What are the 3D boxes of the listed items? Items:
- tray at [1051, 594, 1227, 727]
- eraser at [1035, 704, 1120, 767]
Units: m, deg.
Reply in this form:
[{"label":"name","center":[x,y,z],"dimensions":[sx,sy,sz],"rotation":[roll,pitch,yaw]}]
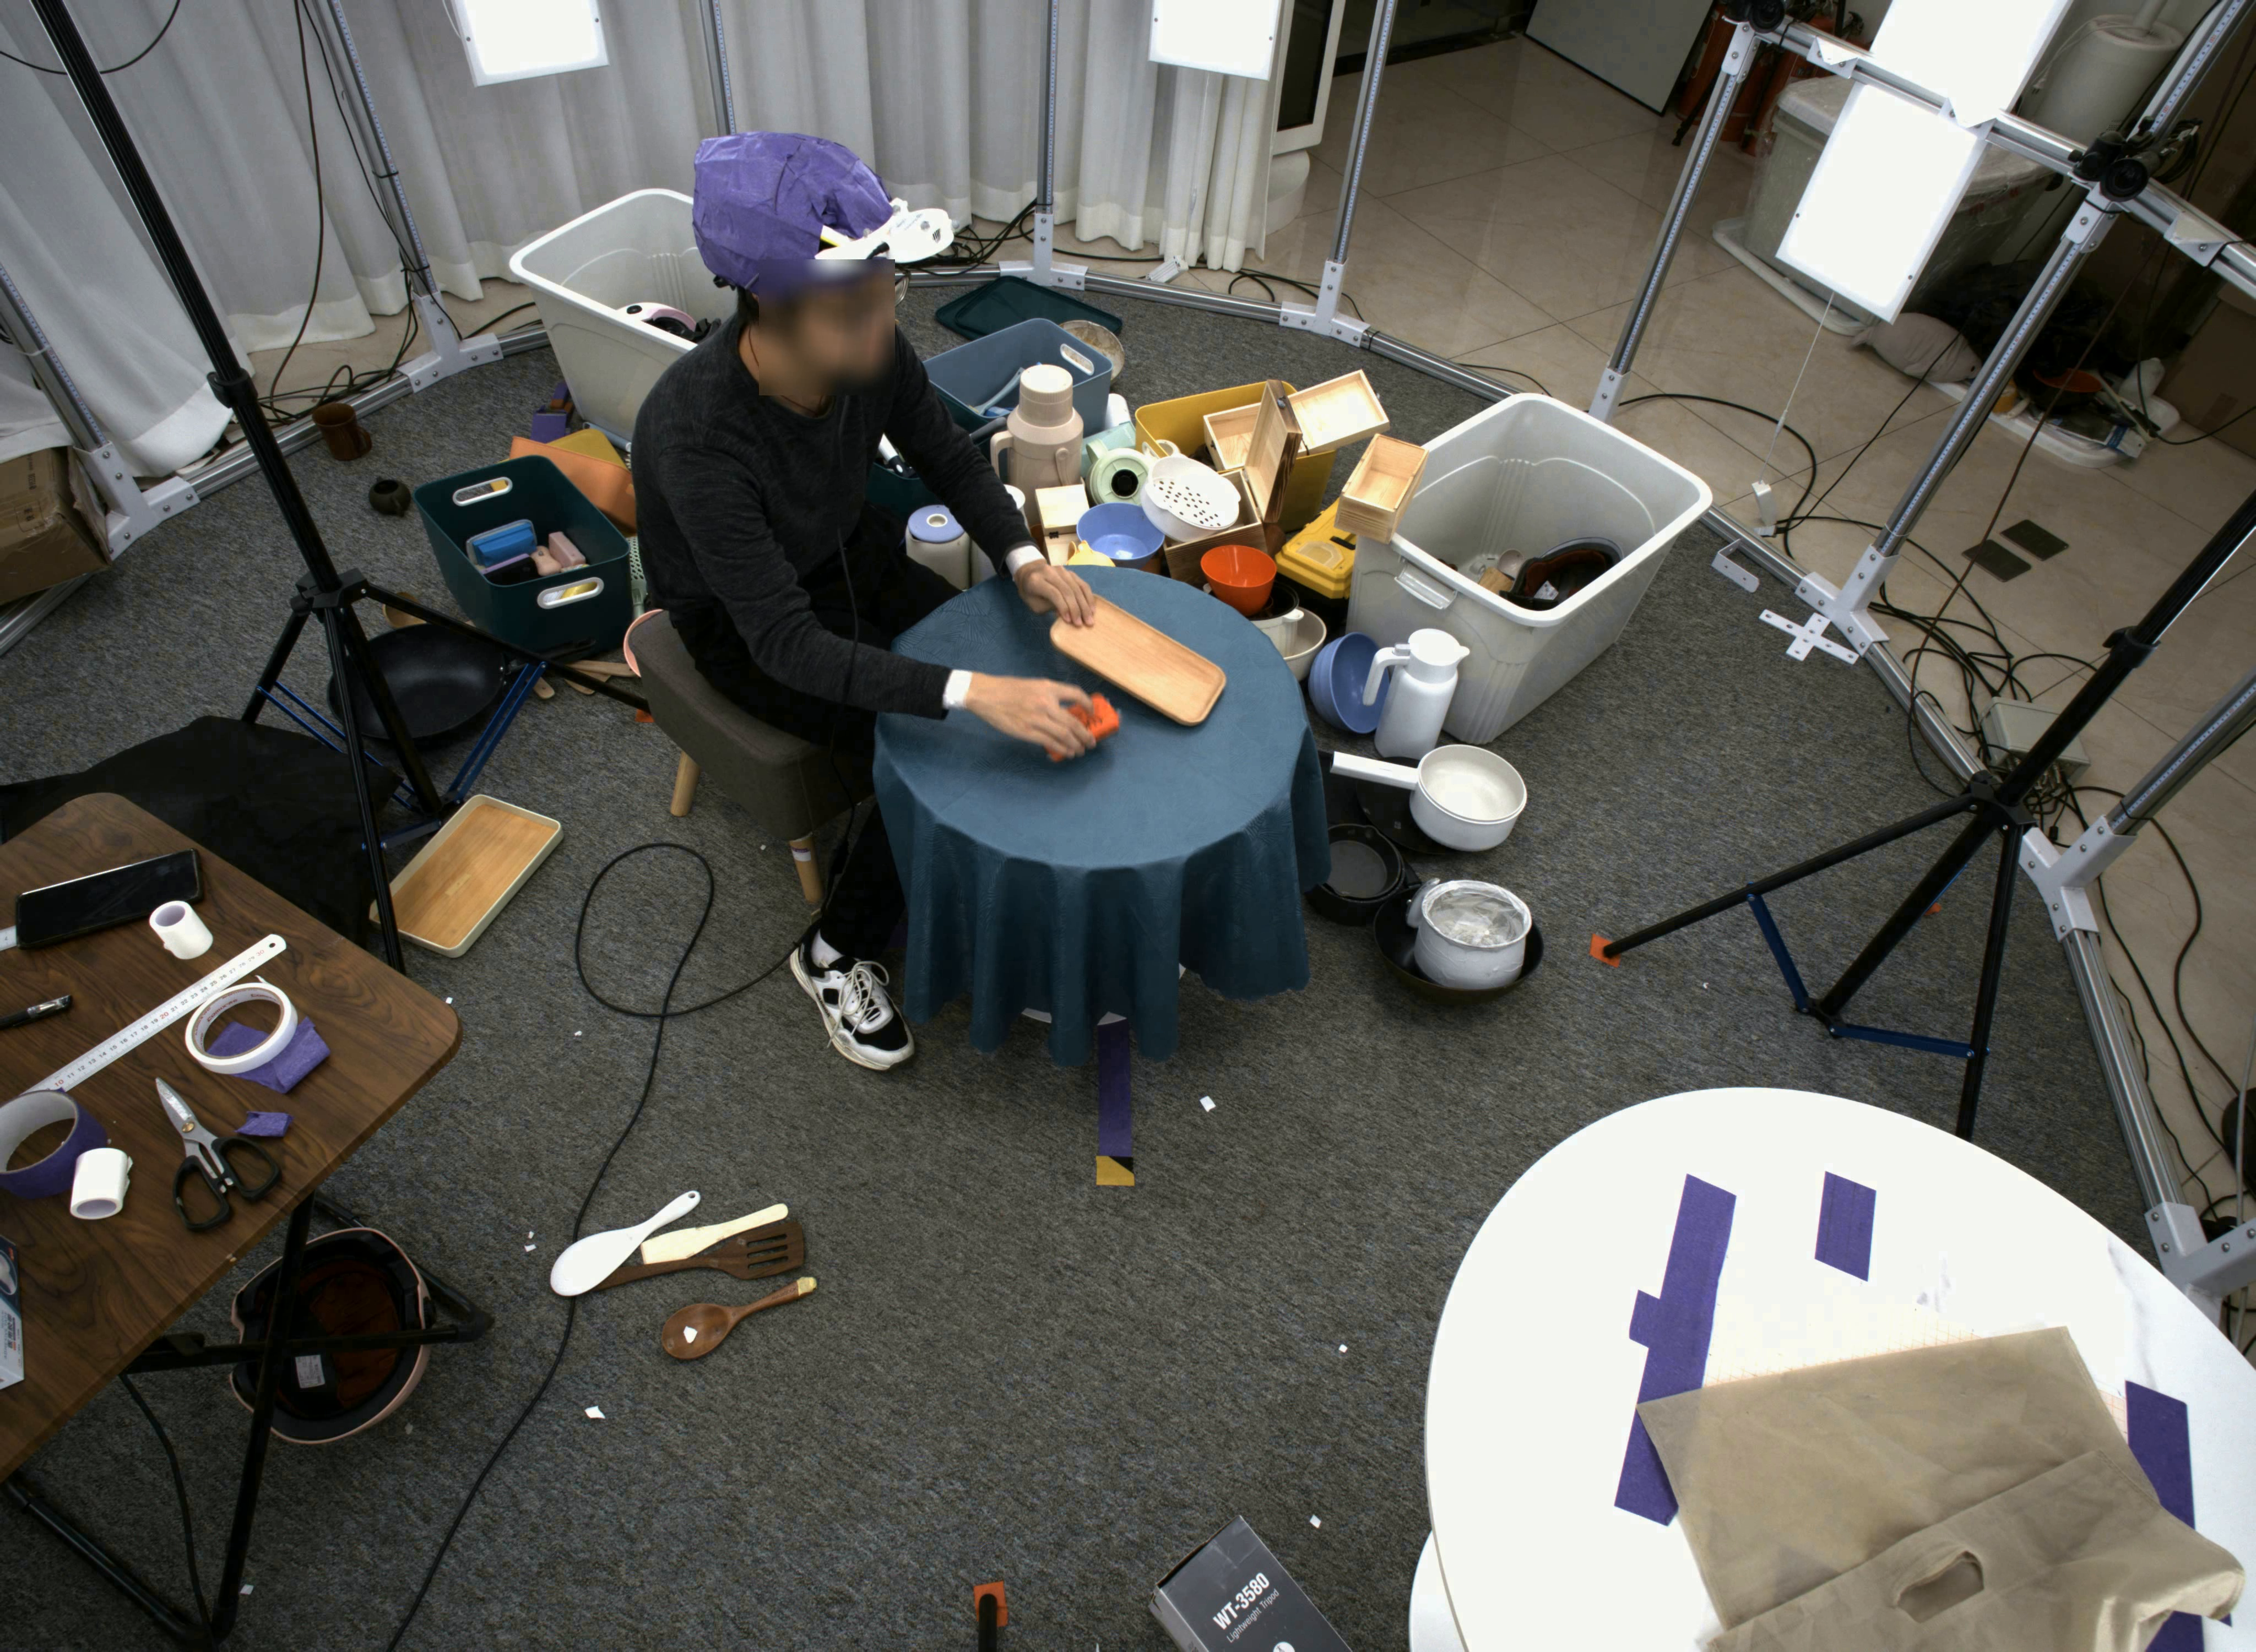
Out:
[{"label":"tray","center":[0.016,-0.236,1.828],"dimensions":[0.251,0.022,0.133],"rotation":[30,50,4]},{"label":"eraser","center":[-0.068,-0.123,1.726],"dimensions":[0.108,0.022,0.060],"rotation":[-26,55,-20]}]
